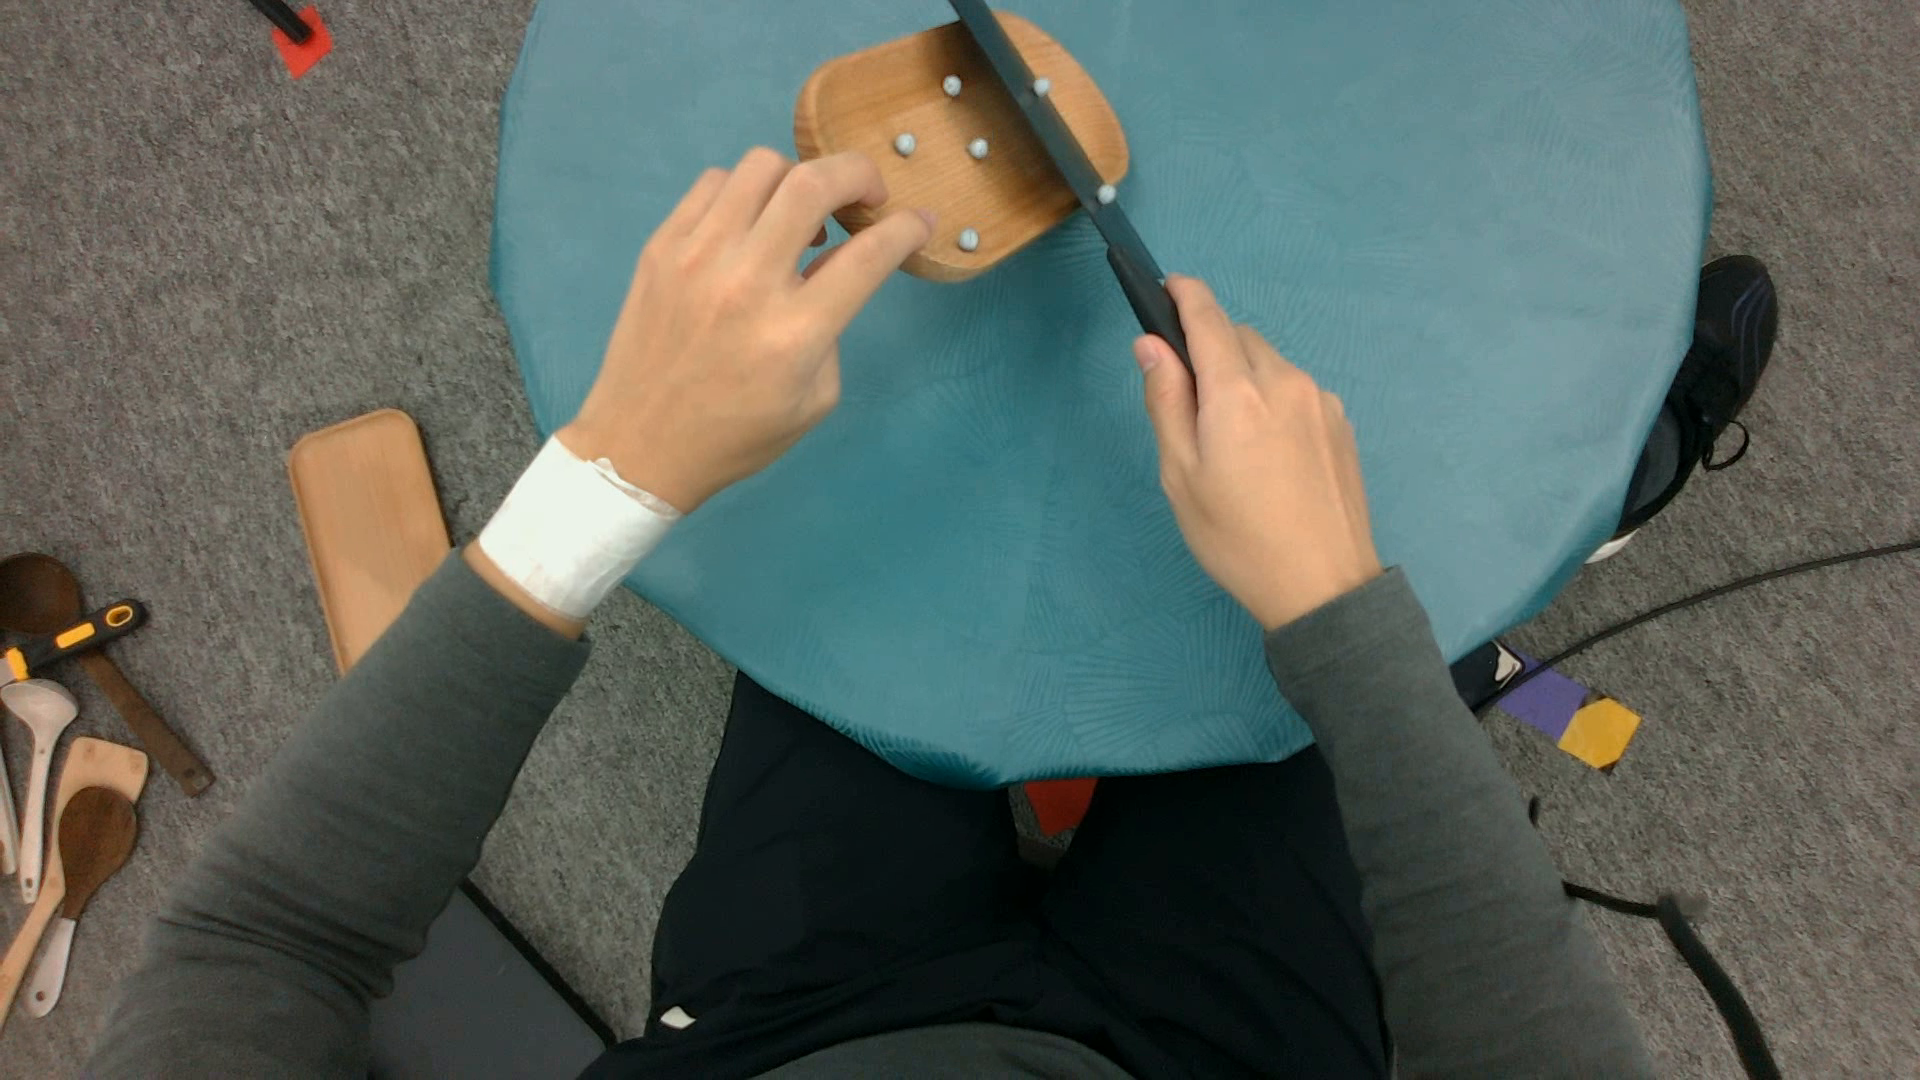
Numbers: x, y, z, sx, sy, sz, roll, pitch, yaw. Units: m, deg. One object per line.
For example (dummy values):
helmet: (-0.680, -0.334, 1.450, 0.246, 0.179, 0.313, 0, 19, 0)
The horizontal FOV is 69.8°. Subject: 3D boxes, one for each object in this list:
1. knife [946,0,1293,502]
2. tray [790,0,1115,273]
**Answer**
knife: (0.059, -0.147, 0.604, 0.021, 0.081, 0.302, -34, 78, 24)
tray: (0.004, -0.183, 0.600, 0.101, 0.232, 0.020, 49, 129, -8)
